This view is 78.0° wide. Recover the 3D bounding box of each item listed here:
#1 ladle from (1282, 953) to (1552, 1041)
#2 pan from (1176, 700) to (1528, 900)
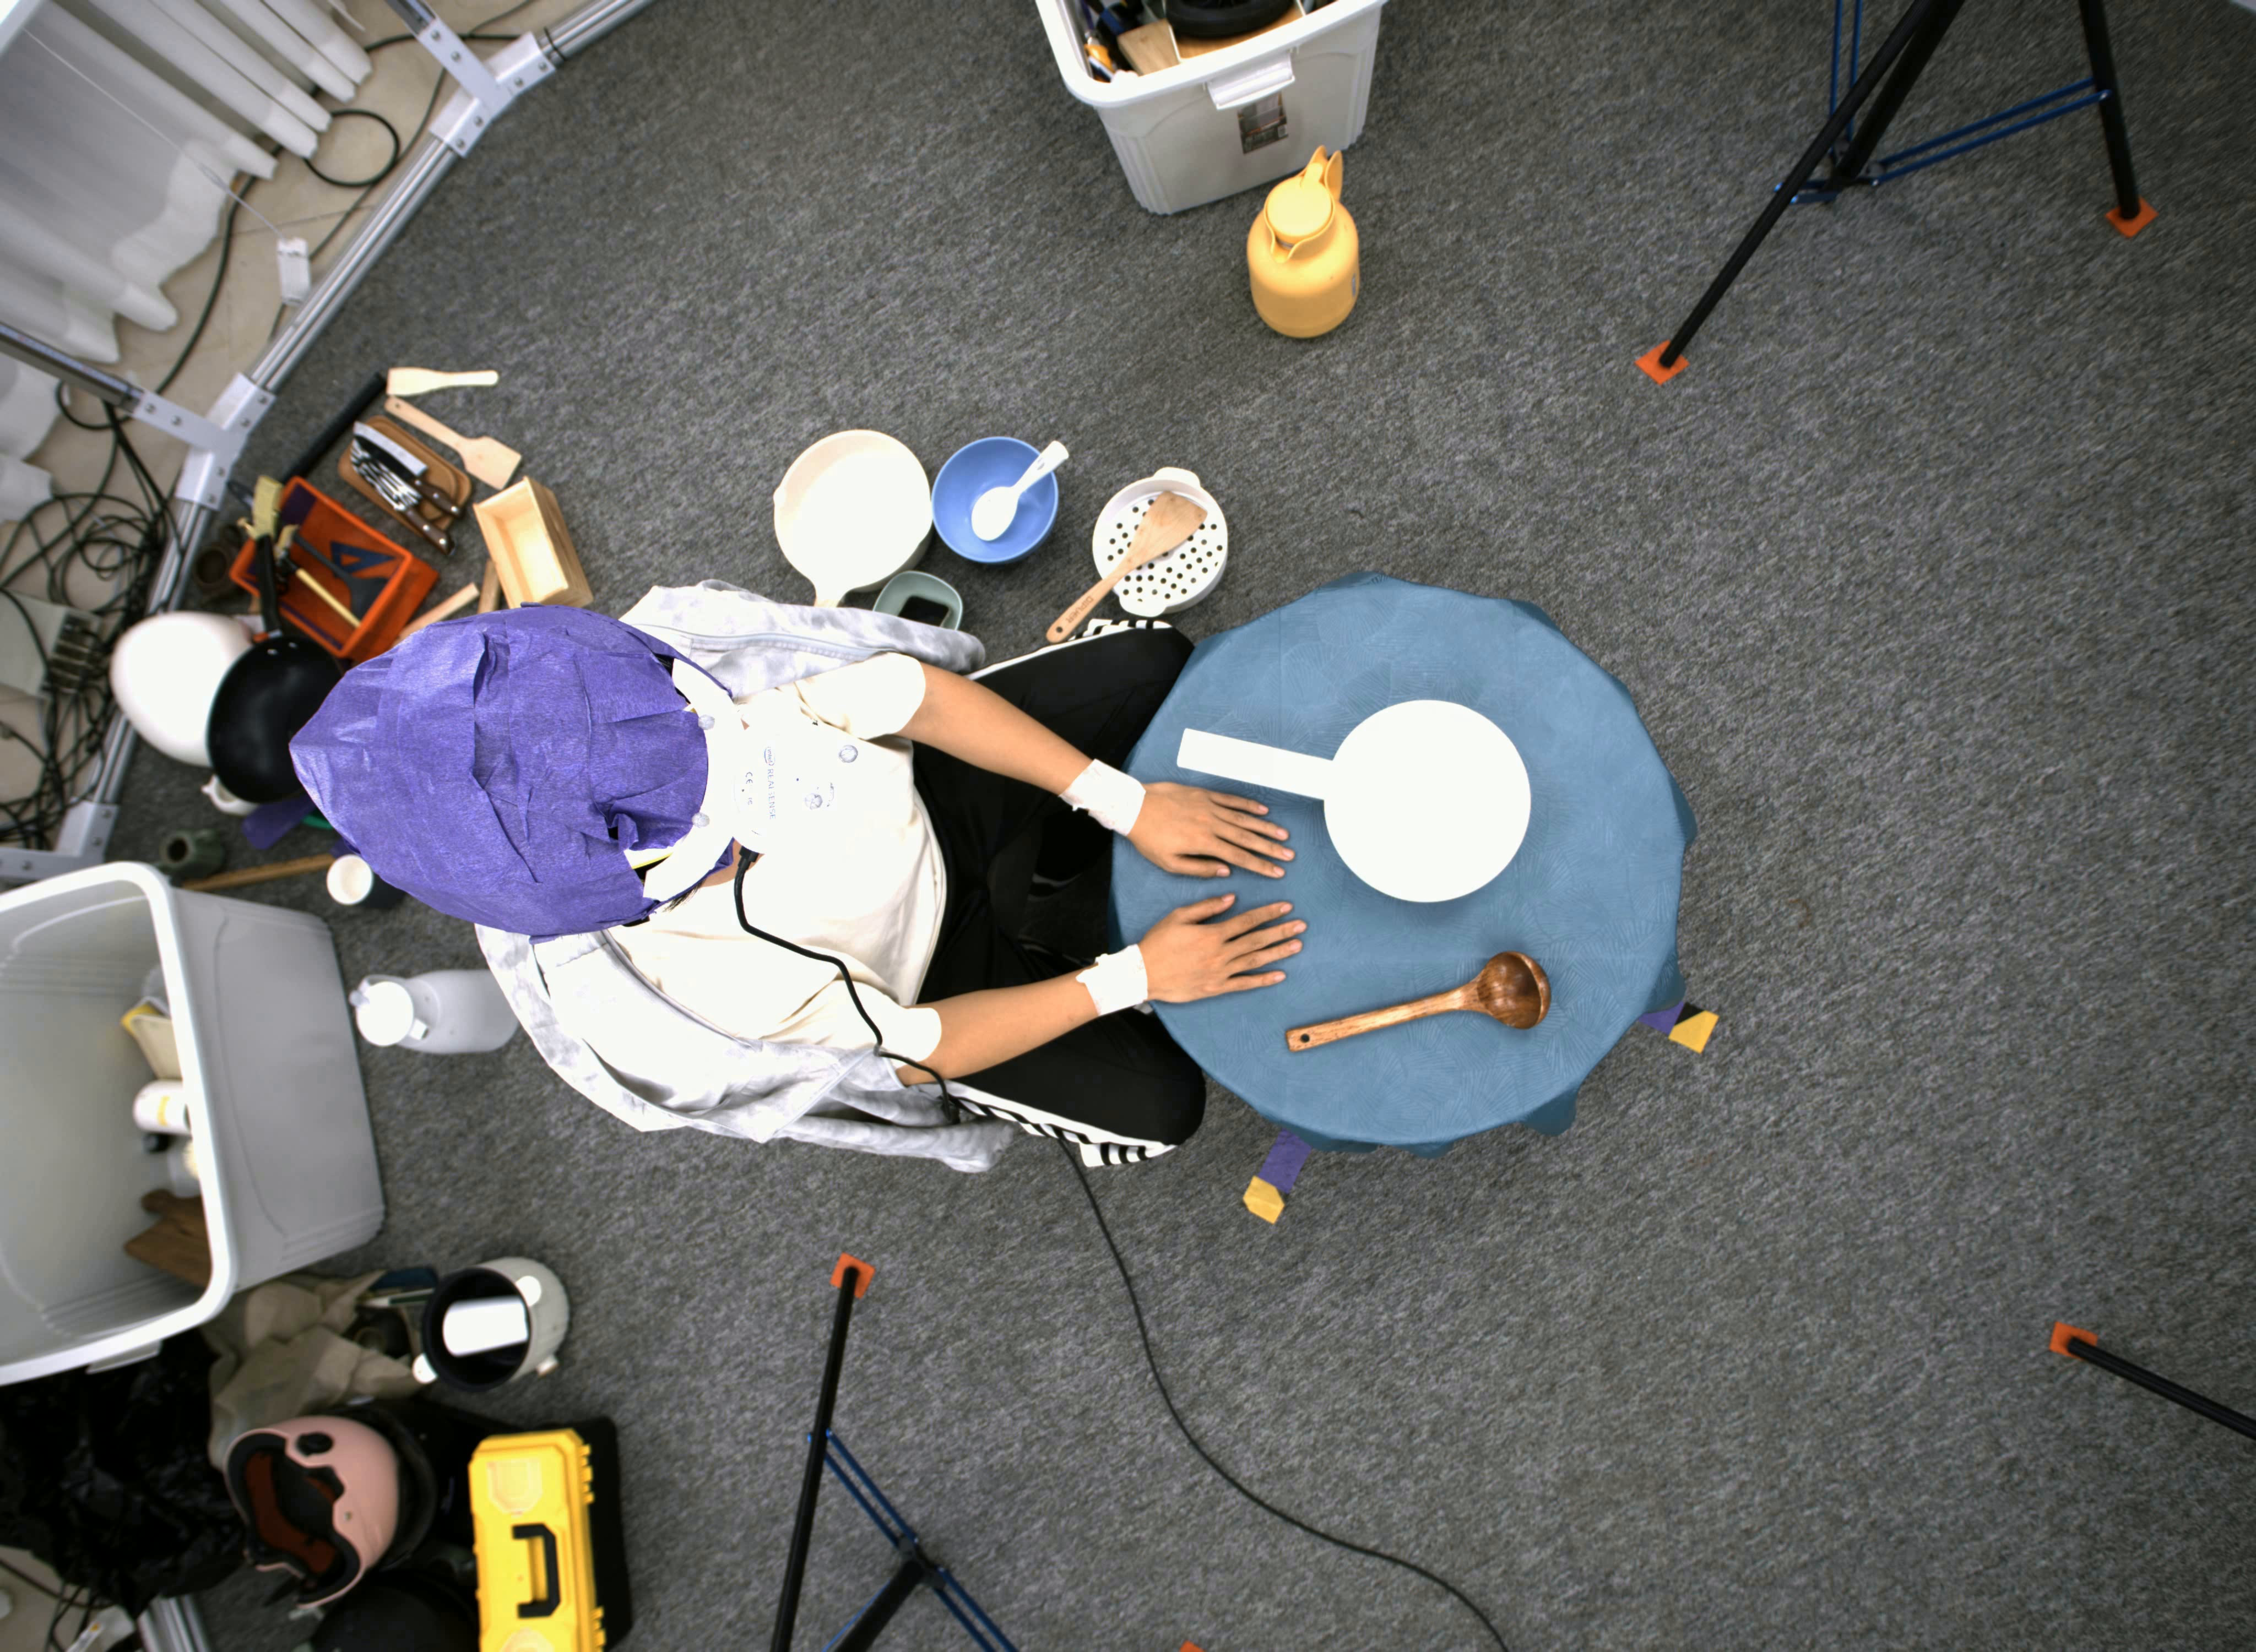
[{"bbox_3d":[0.292,0.188,1.407,0.275,0.076,0.081,-12,84,9],"label":"ladle"},{"bbox_3d":[0.228,-0.041,1.422,0.355,0.102,0.201,14,90,12],"label":"pan"}]
